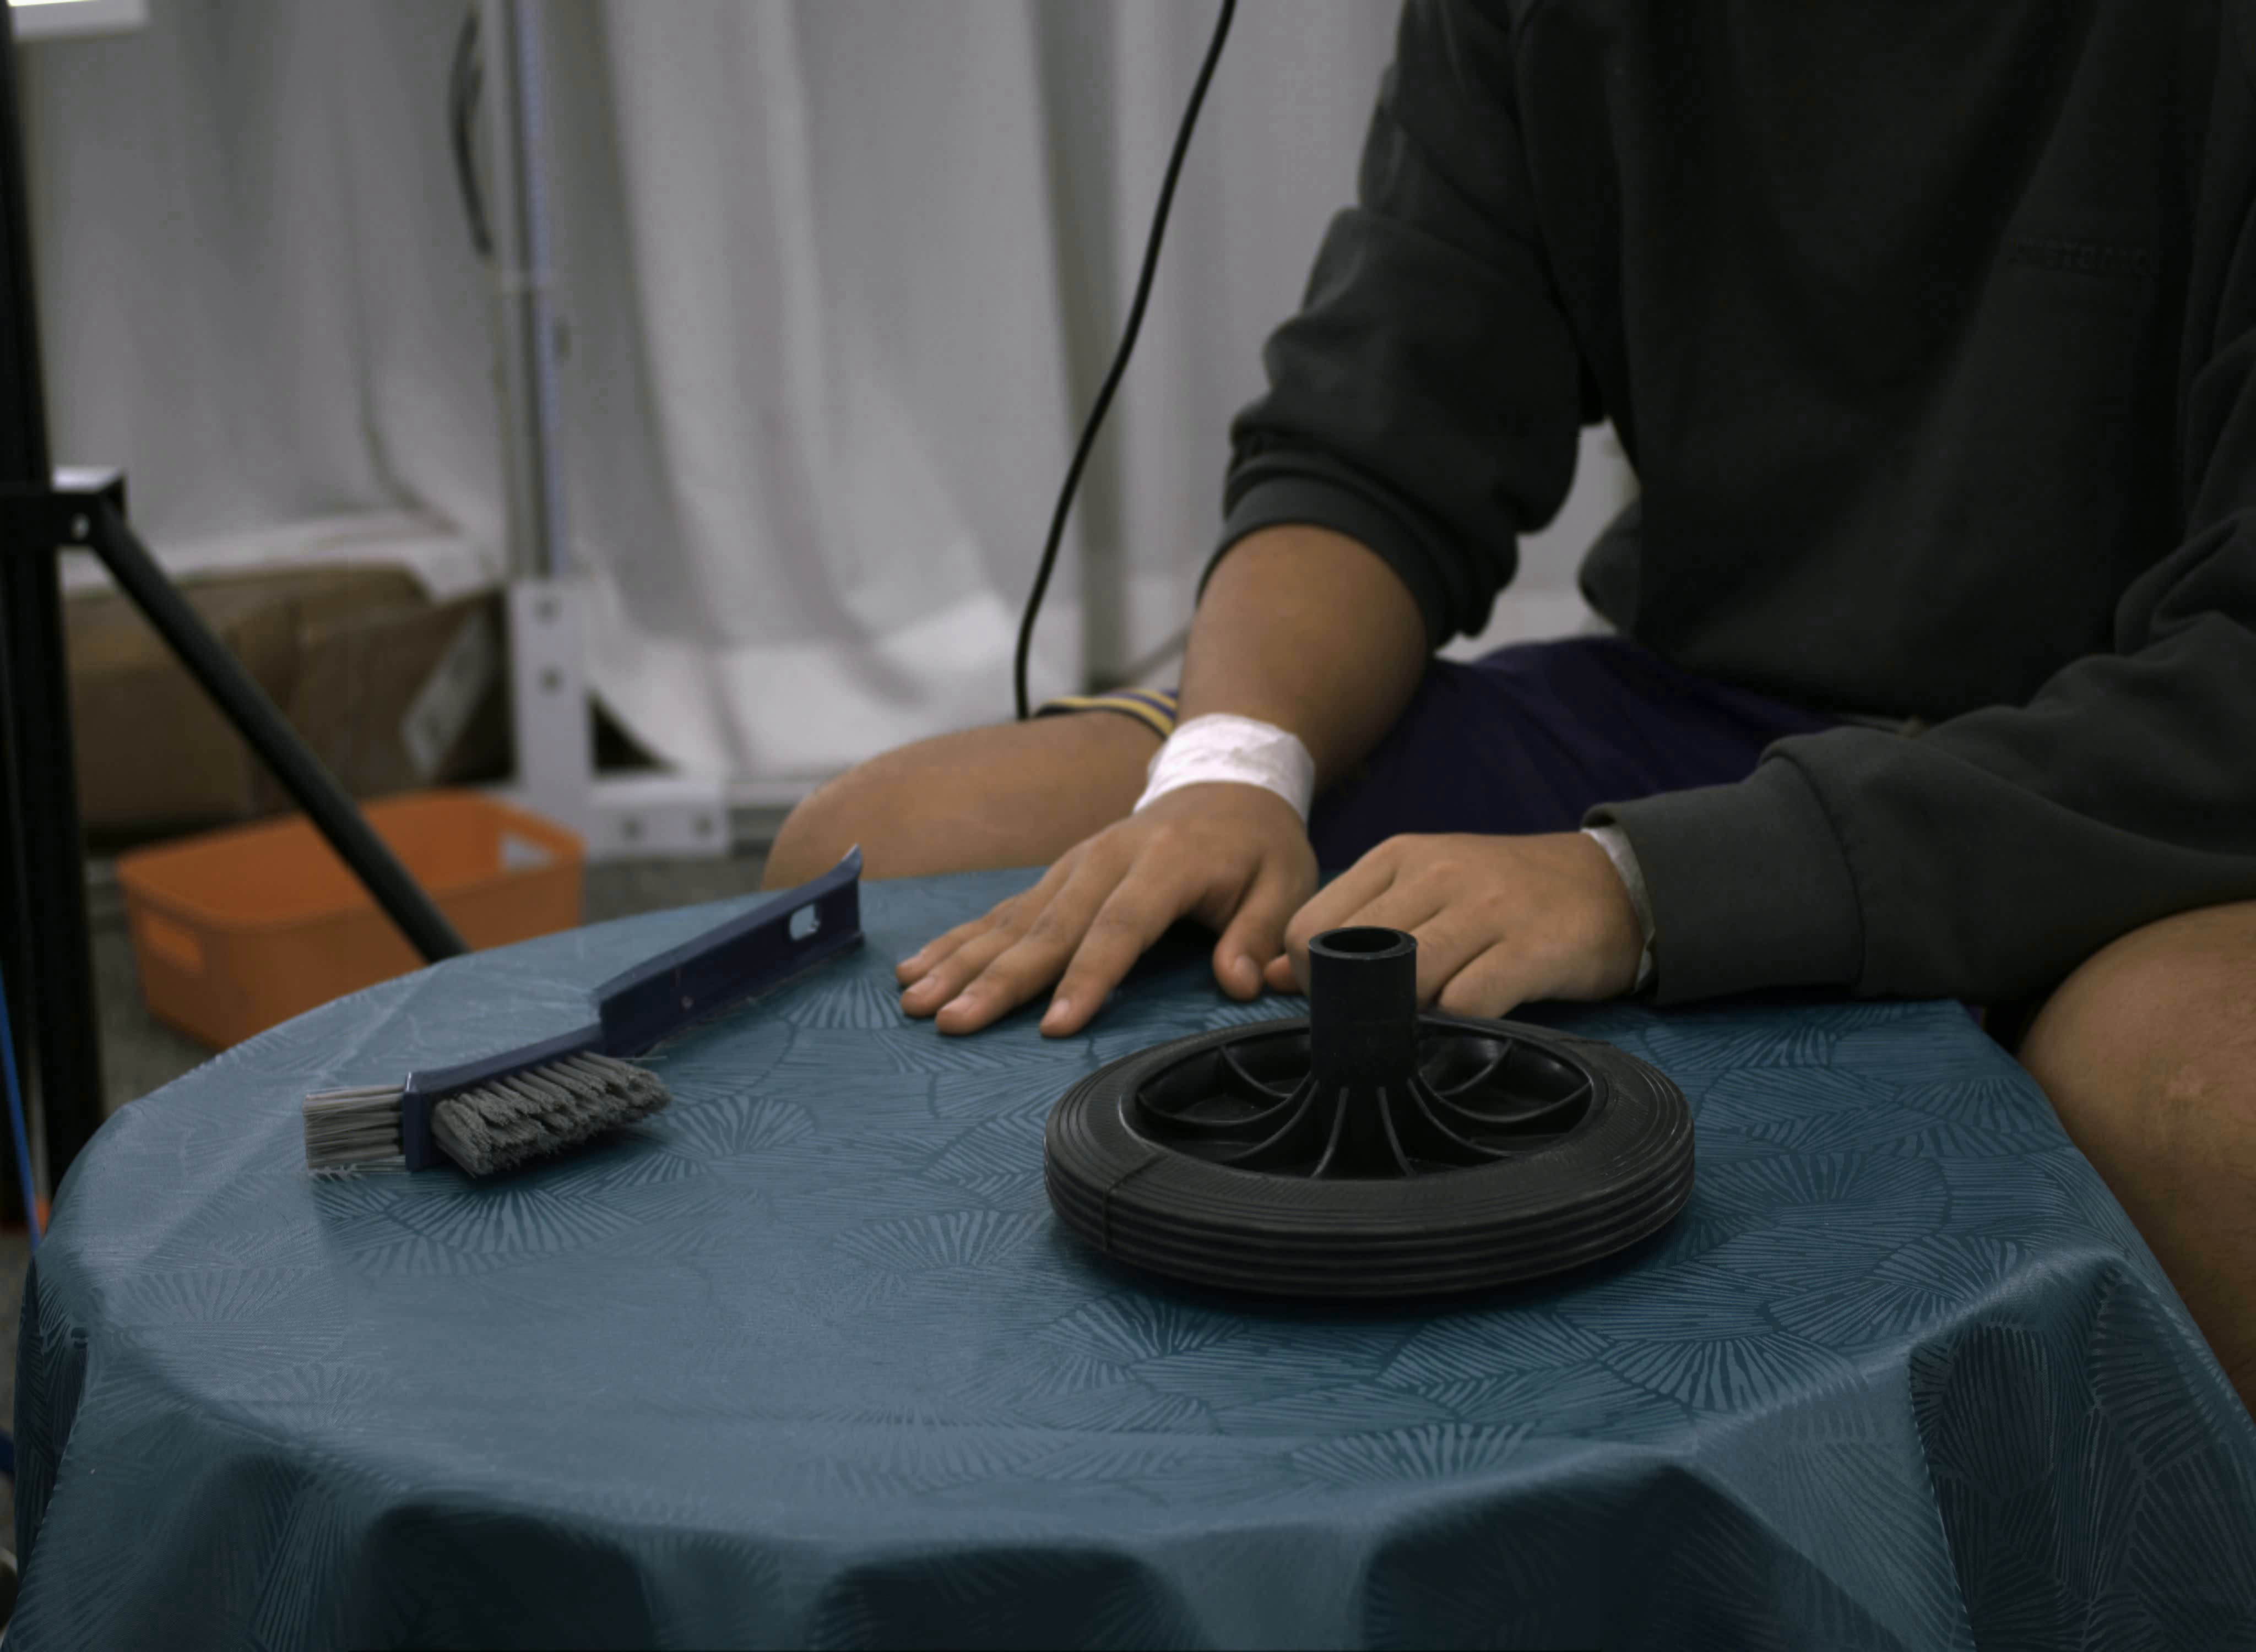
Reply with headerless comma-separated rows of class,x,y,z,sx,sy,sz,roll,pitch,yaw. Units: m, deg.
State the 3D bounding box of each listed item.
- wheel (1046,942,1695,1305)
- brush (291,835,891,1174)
wheel,0.069,0.075,1.524,0.187,0.079,0.190,-2,15,1
brush,-0.161,0.056,1.711,0.097,0.033,0.269,3,18,23
